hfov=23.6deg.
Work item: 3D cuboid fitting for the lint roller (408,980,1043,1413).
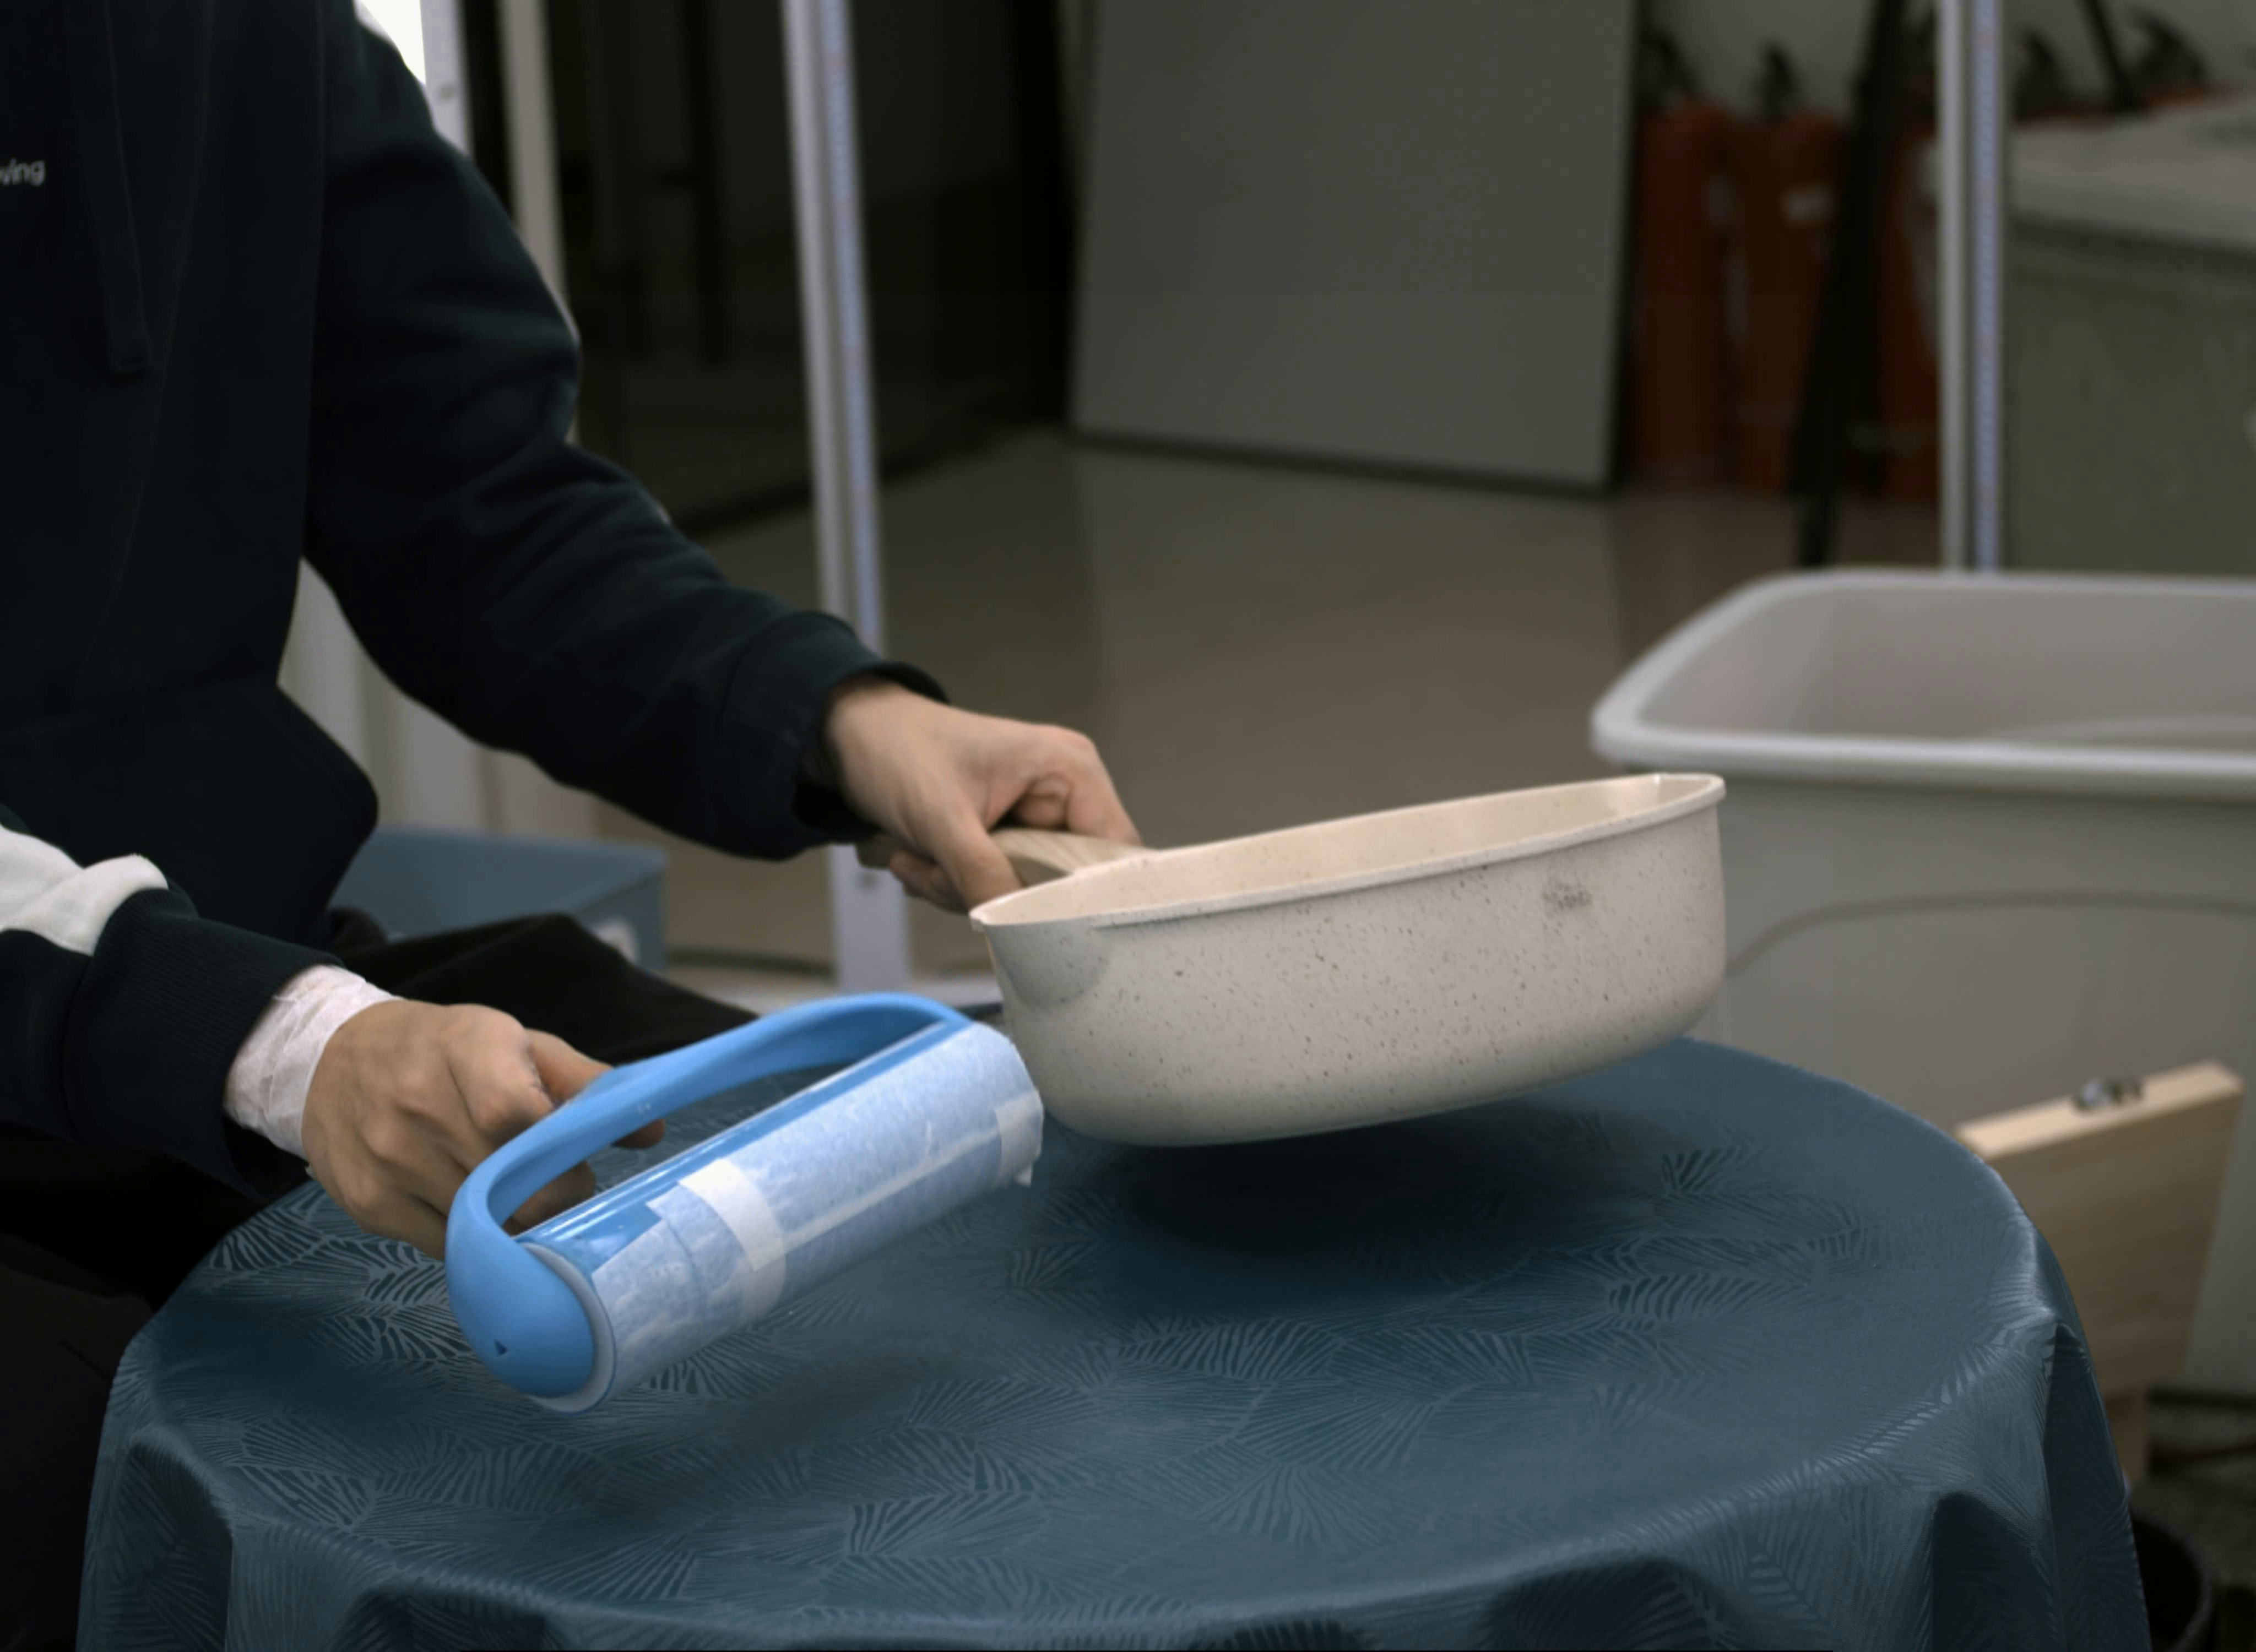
[{"bbox_3d":[-0.150,0.104,1.596,0.181,0.068,0.225,3,22,36],"label":"lint roller"}]

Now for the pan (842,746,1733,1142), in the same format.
[{"bbox_3d":[0.030,0.040,1.832,0.257,0.103,0.439,-14,3,-32],"label":"pan"}]
